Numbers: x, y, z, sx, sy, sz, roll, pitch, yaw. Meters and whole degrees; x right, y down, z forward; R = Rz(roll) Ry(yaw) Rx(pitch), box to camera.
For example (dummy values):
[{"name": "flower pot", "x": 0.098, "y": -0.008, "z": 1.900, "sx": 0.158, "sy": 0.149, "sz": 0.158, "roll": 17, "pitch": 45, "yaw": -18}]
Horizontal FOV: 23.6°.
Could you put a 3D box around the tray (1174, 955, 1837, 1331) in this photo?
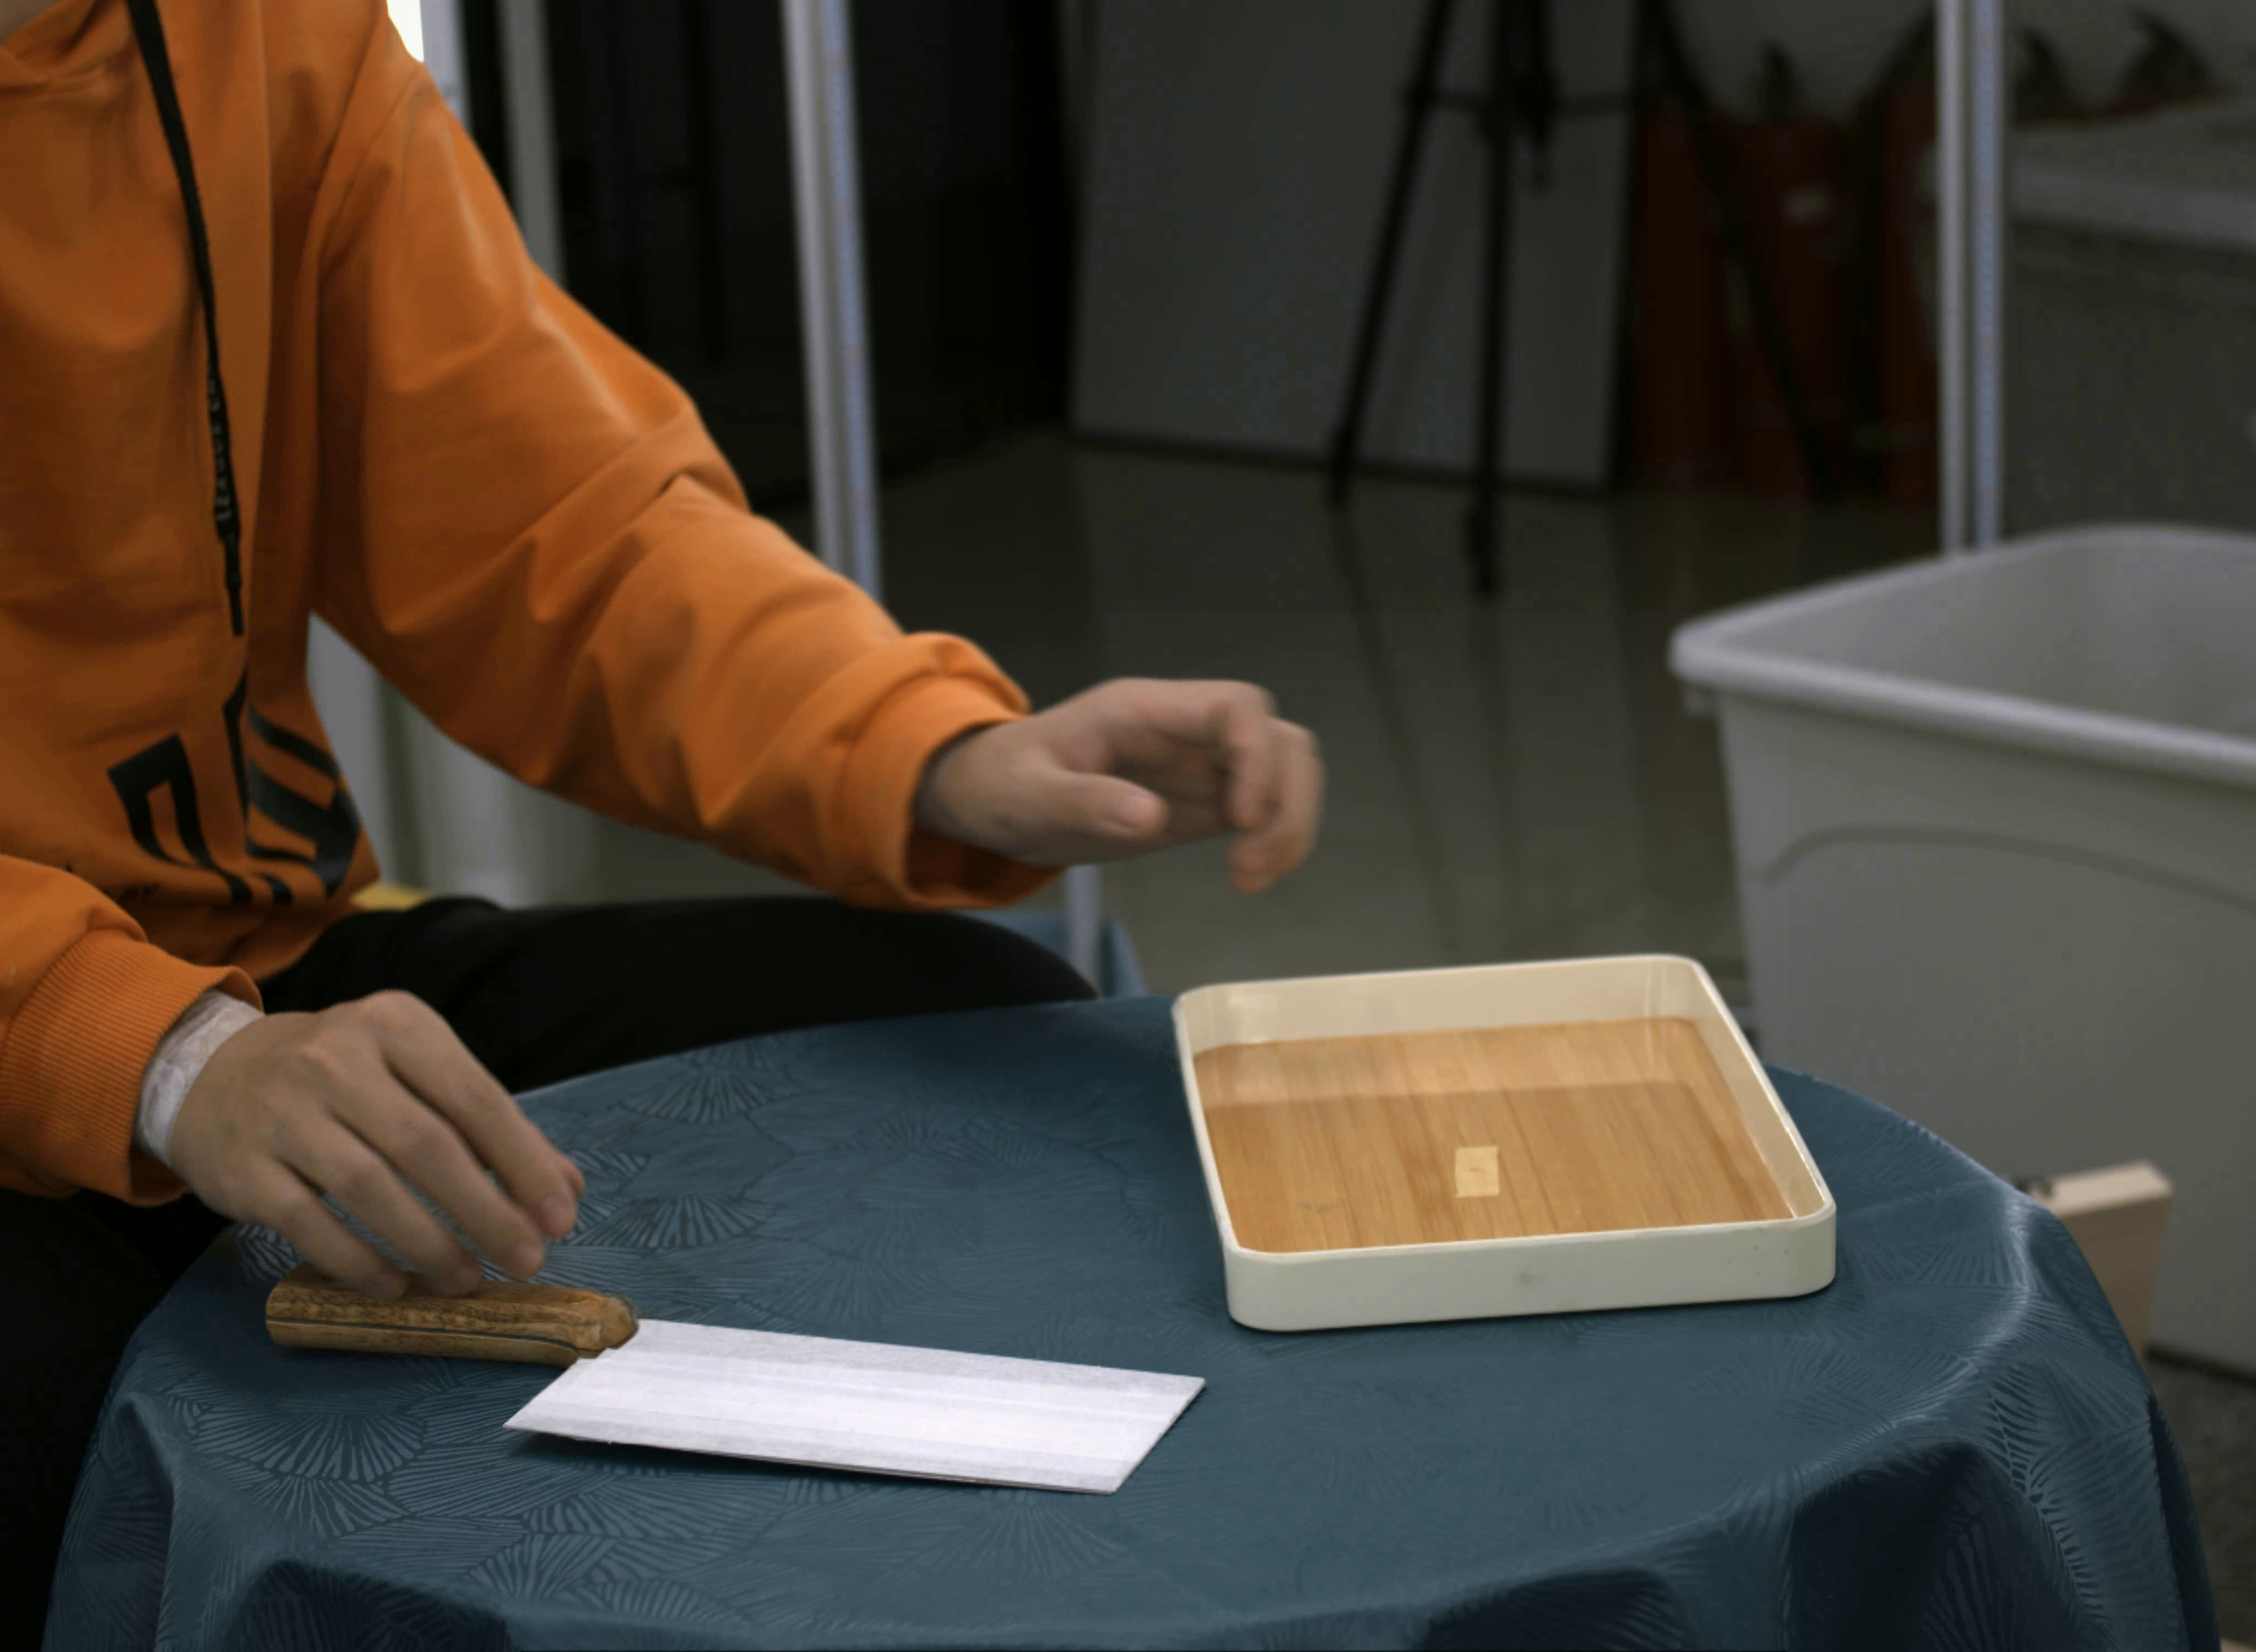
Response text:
[{"name": "tray", "x": 0.117, "y": 0.100, "z": 1.764, "sx": 0.189, "sy": 0.028, "sz": 0.301, "roll": -5, "pitch": 14, "yaw": -1}]

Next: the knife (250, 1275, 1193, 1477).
[{"name": "knife", "x": -0.132, "y": 0.166, "z": 1.598, "sx": 0.305, "sy": 0.021, "sz": 0.092, "roll": 3, "pitch": 17, "yaw": 20}]
